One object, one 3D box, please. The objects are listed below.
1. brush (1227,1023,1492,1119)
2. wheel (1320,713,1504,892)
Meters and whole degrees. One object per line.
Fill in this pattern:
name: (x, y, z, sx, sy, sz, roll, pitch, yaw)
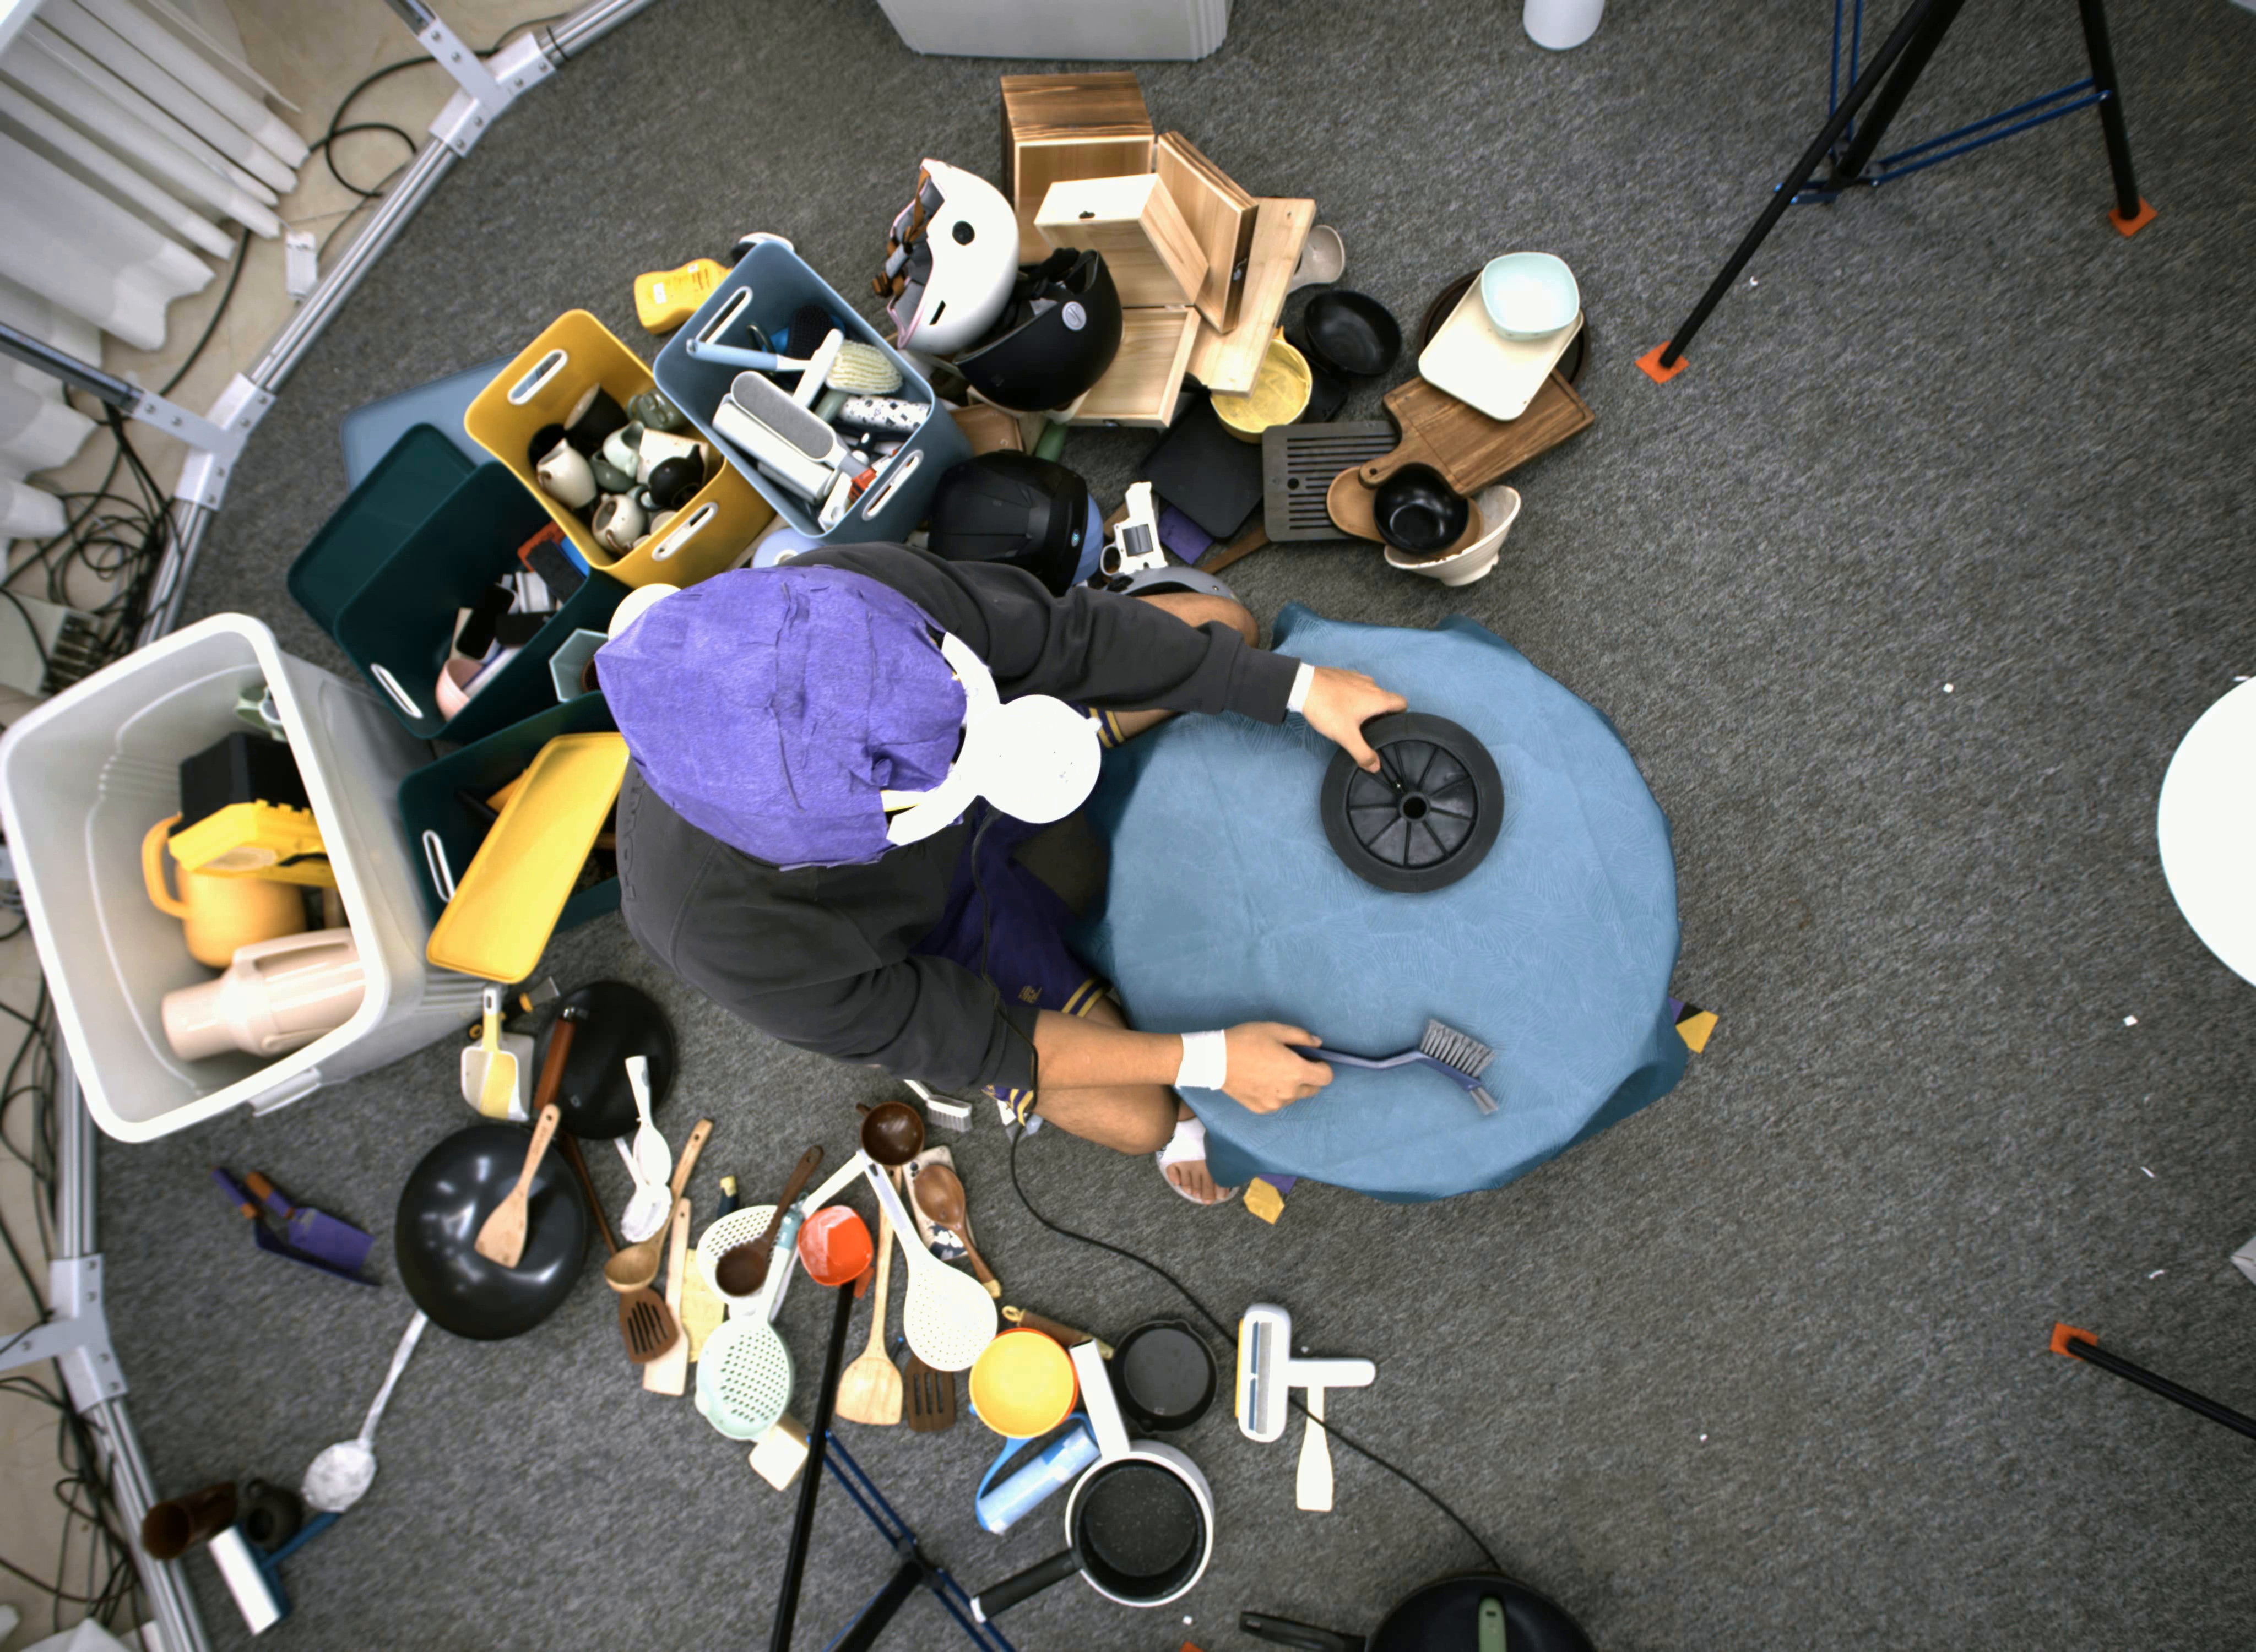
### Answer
brush: (0.239, 0.248, 1.435, 0.274, 0.033, 0.096, 2, 99, 9)
wheel: (0.291, -0.025, 1.413, 0.189, 0.078, 0.189, 31, 101, 5)
